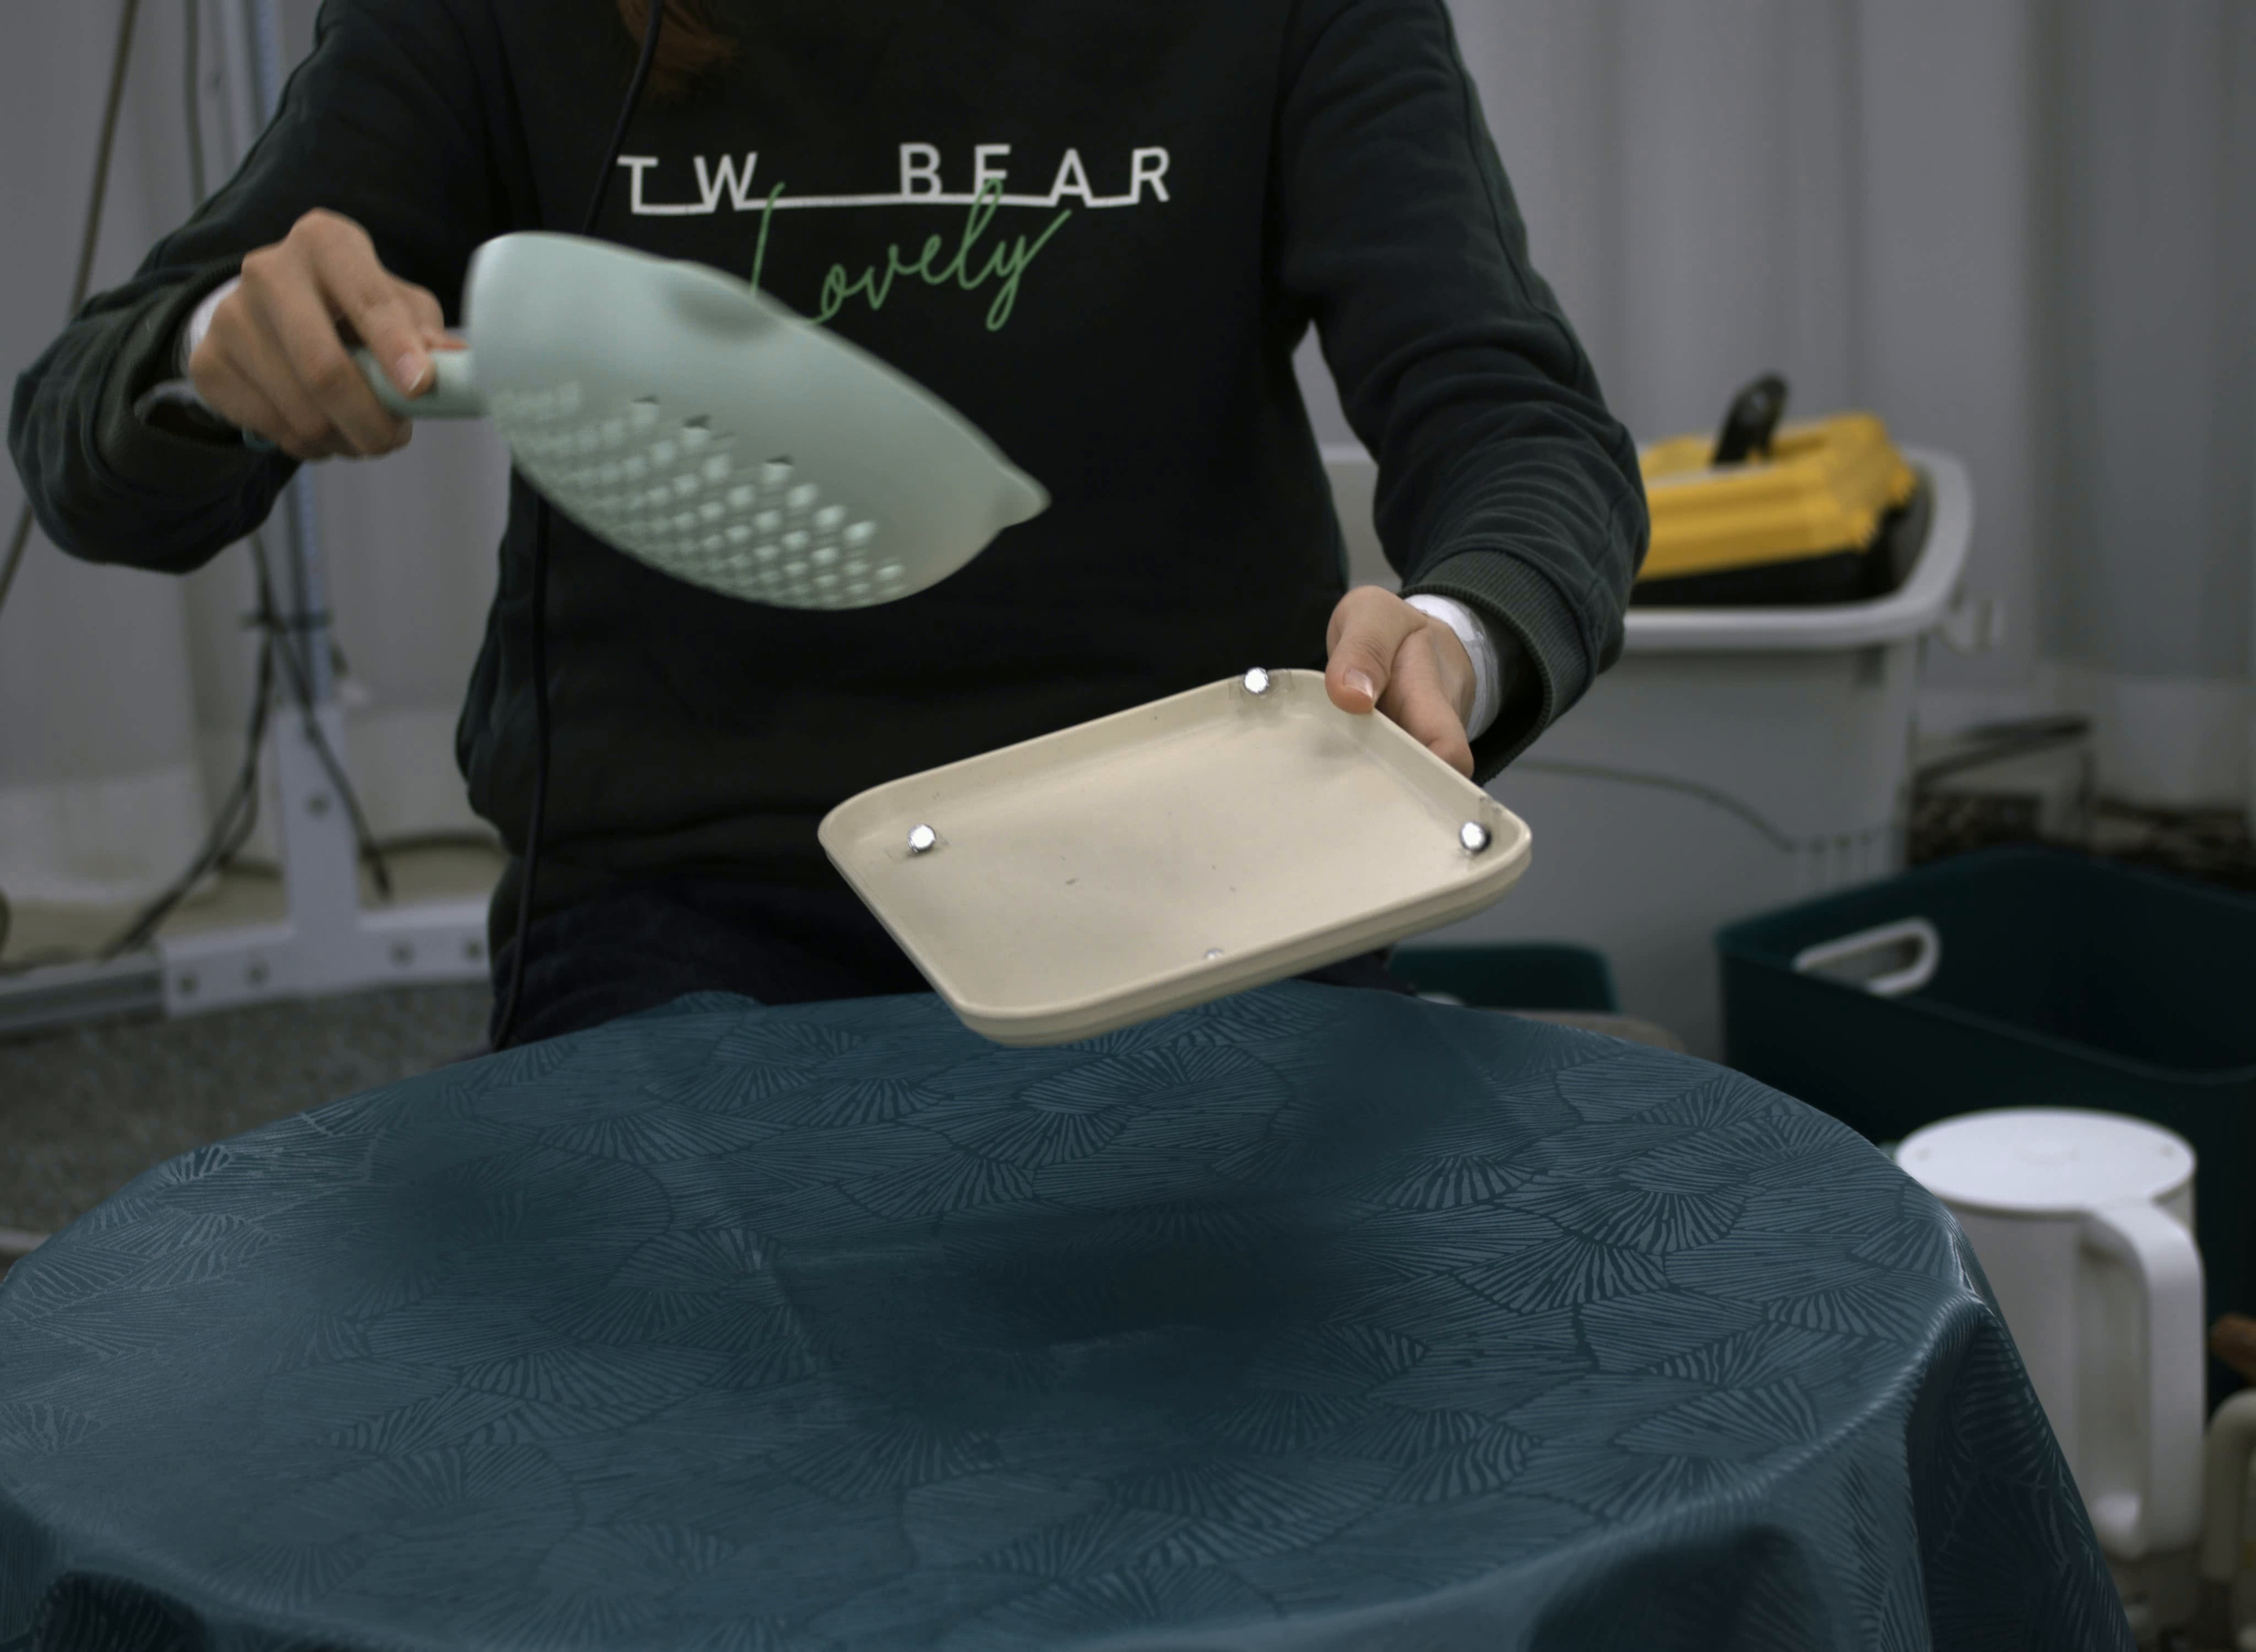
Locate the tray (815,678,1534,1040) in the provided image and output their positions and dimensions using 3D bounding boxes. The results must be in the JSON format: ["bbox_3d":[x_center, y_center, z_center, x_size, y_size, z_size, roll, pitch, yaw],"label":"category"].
[{"bbox_3d":[0.010,0.008,1.597,0.171,0.017,0.241,-17,17,-11],"label":"tray"}]

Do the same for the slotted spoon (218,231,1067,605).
[{"bbox_3d":[-0.171,-0.126,1.640,0.167,0.075,0.361,35,-9,-37],"label":"slotted spoon"}]
